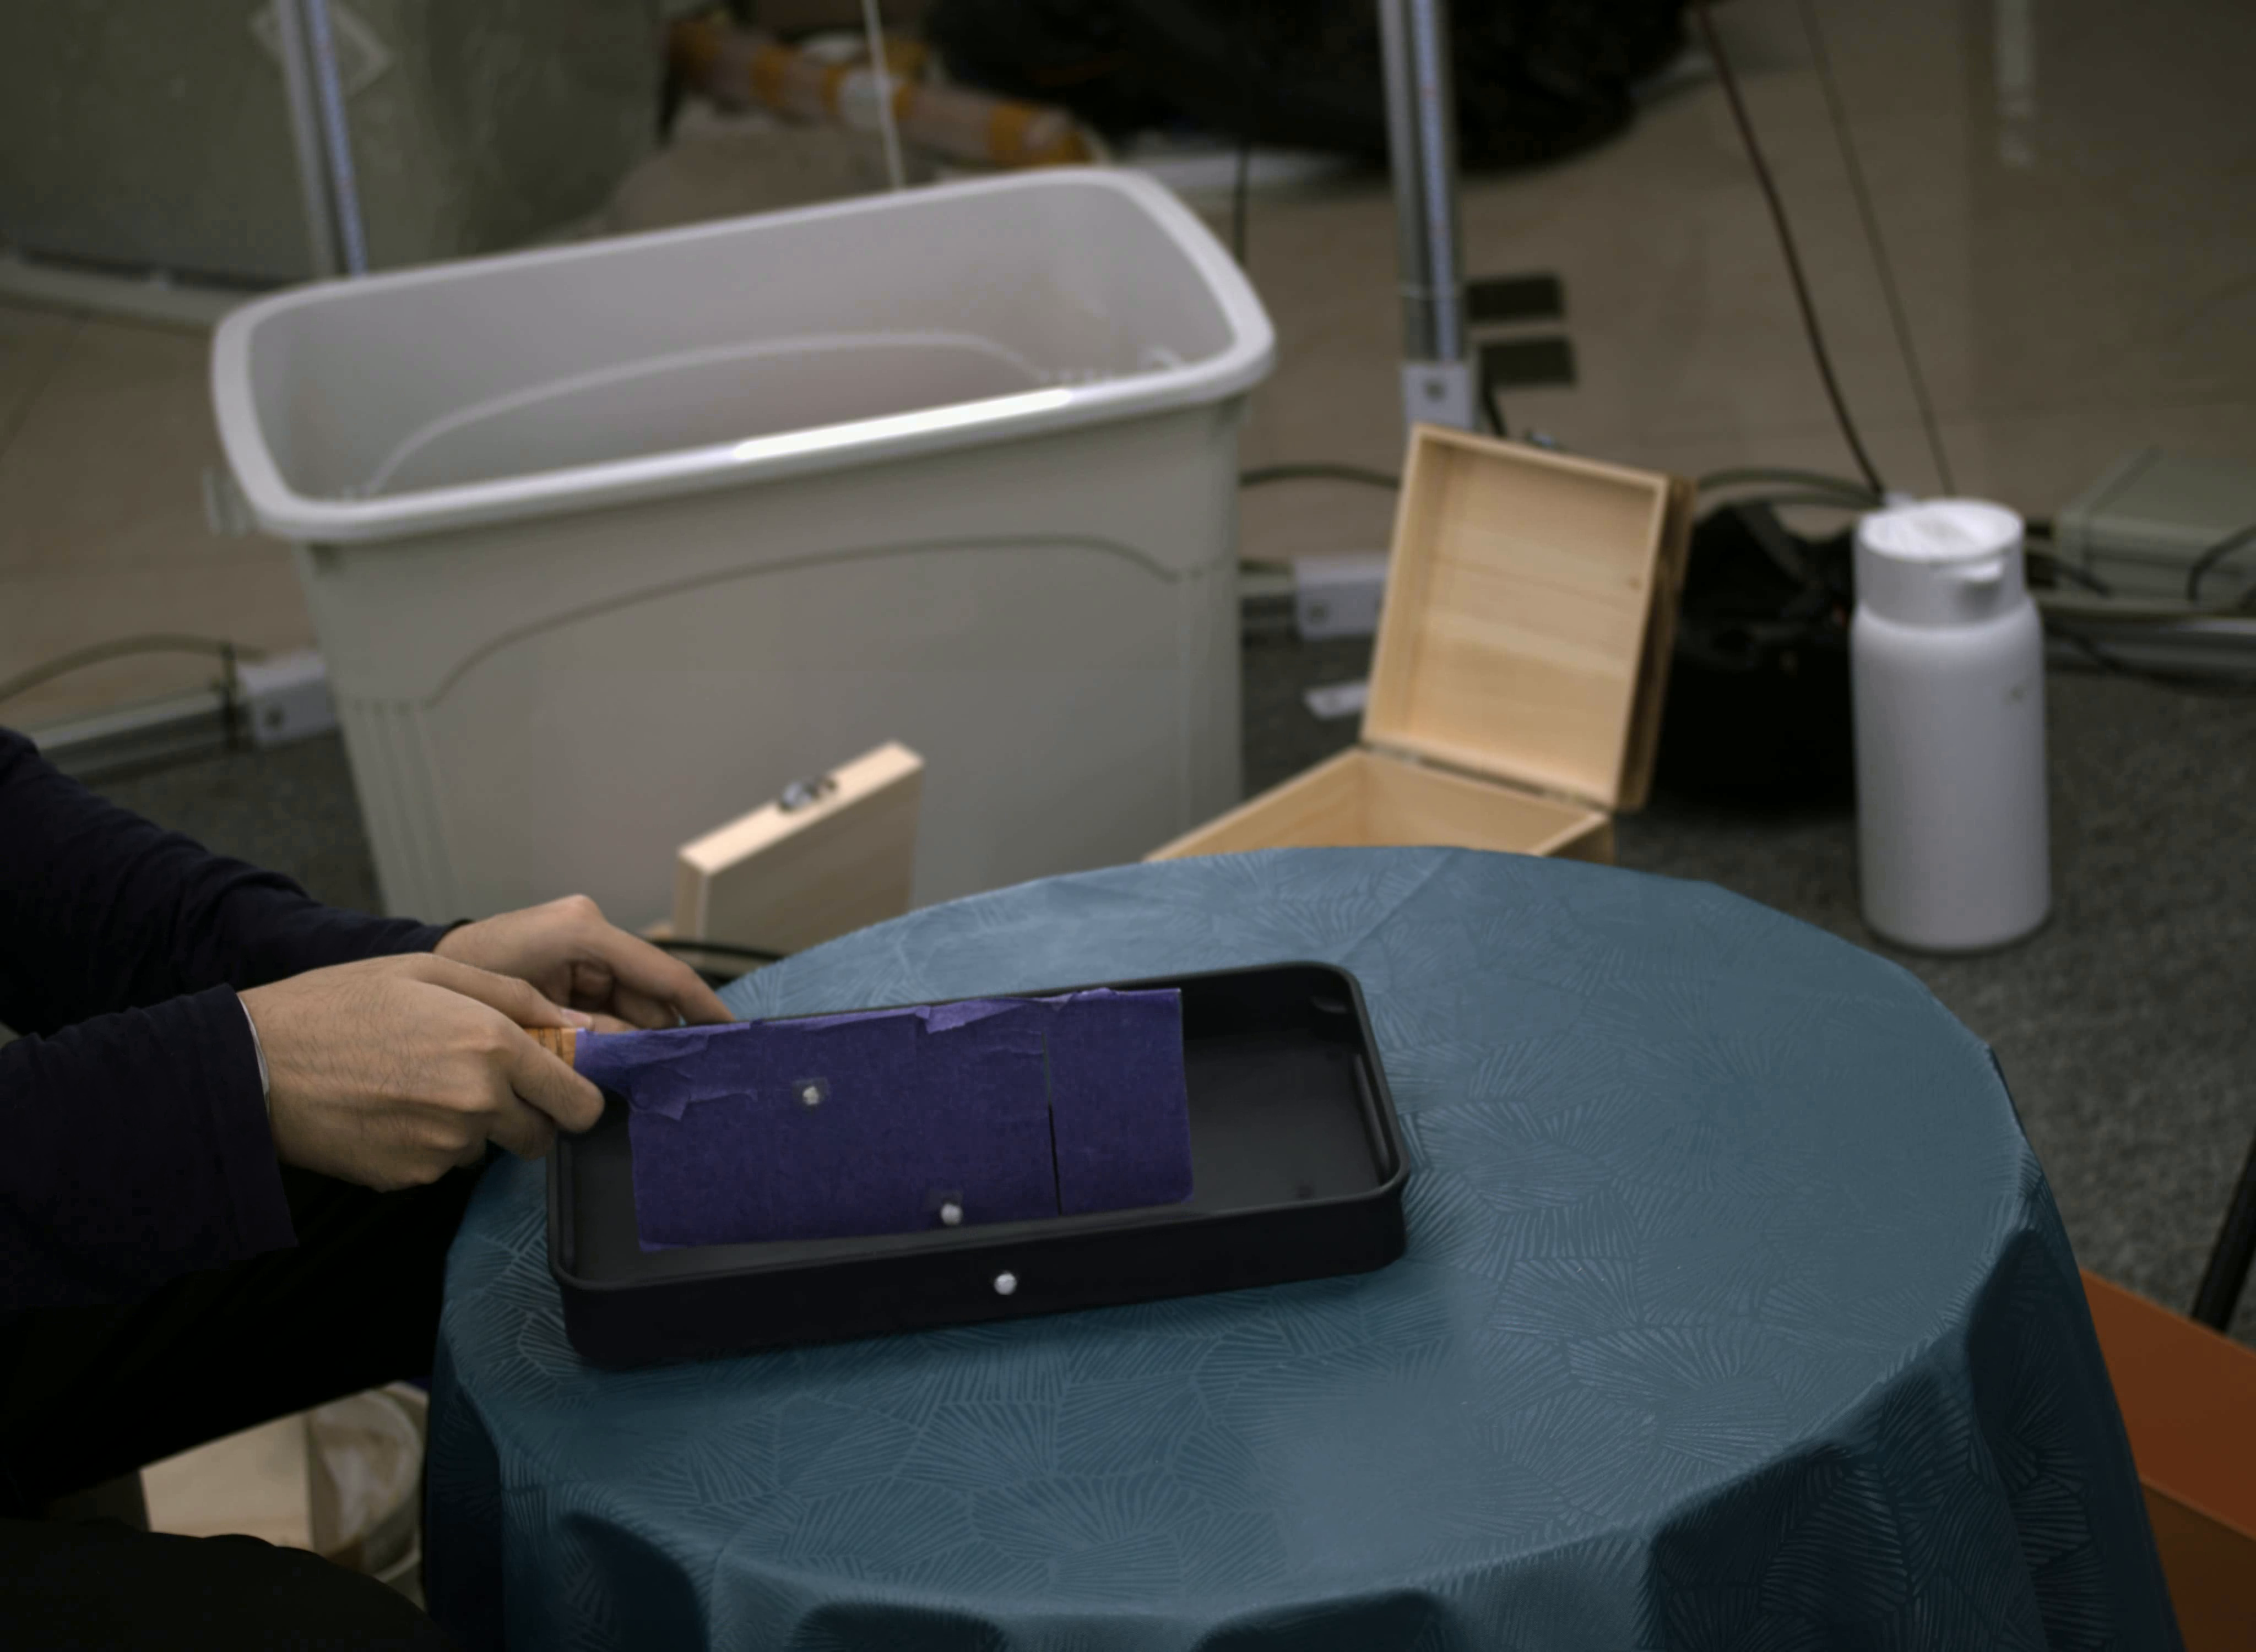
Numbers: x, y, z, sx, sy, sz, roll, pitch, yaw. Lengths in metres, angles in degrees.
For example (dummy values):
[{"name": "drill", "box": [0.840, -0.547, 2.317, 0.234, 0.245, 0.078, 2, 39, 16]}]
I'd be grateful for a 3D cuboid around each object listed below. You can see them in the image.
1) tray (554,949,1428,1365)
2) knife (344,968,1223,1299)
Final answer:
[{"name": "tray", "box": [-0.054, 0.122, 2.138, 0.317, 0.037, 0.181, -7, 29, -4]}, {"name": "knife", "box": [-0.124, 0.121, 2.060, 0.314, 0.103, 0.032, -8, -11, -5]}]
